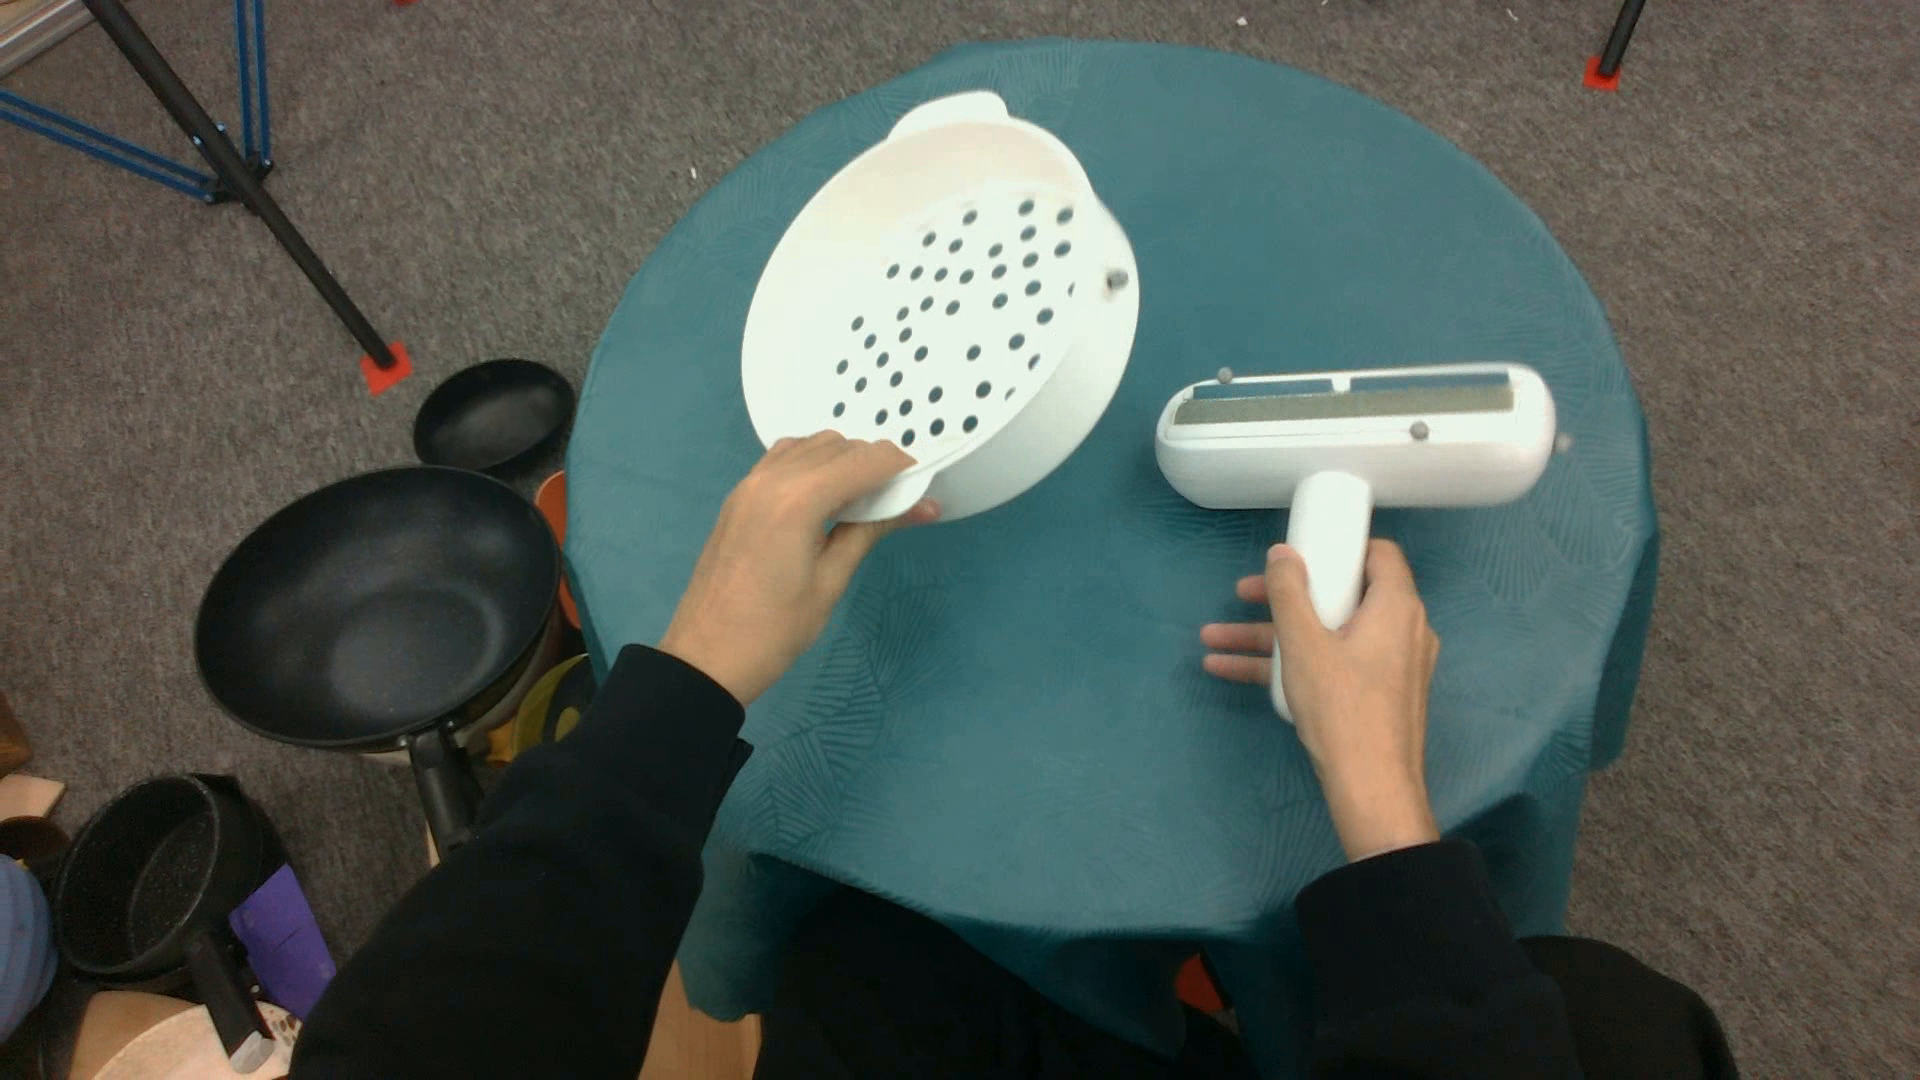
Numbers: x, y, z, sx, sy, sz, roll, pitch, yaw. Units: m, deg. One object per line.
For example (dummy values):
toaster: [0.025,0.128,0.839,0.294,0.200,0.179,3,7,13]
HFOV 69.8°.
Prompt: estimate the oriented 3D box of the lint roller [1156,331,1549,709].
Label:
lint roller: [0.173,-0.014,0.662,0.192,0.074,0.193,3,55,32]

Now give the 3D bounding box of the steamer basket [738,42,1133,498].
steamer basket: [-0.015,-0.122,0.663,0.201,0.069,0.231,-5,70,38]
